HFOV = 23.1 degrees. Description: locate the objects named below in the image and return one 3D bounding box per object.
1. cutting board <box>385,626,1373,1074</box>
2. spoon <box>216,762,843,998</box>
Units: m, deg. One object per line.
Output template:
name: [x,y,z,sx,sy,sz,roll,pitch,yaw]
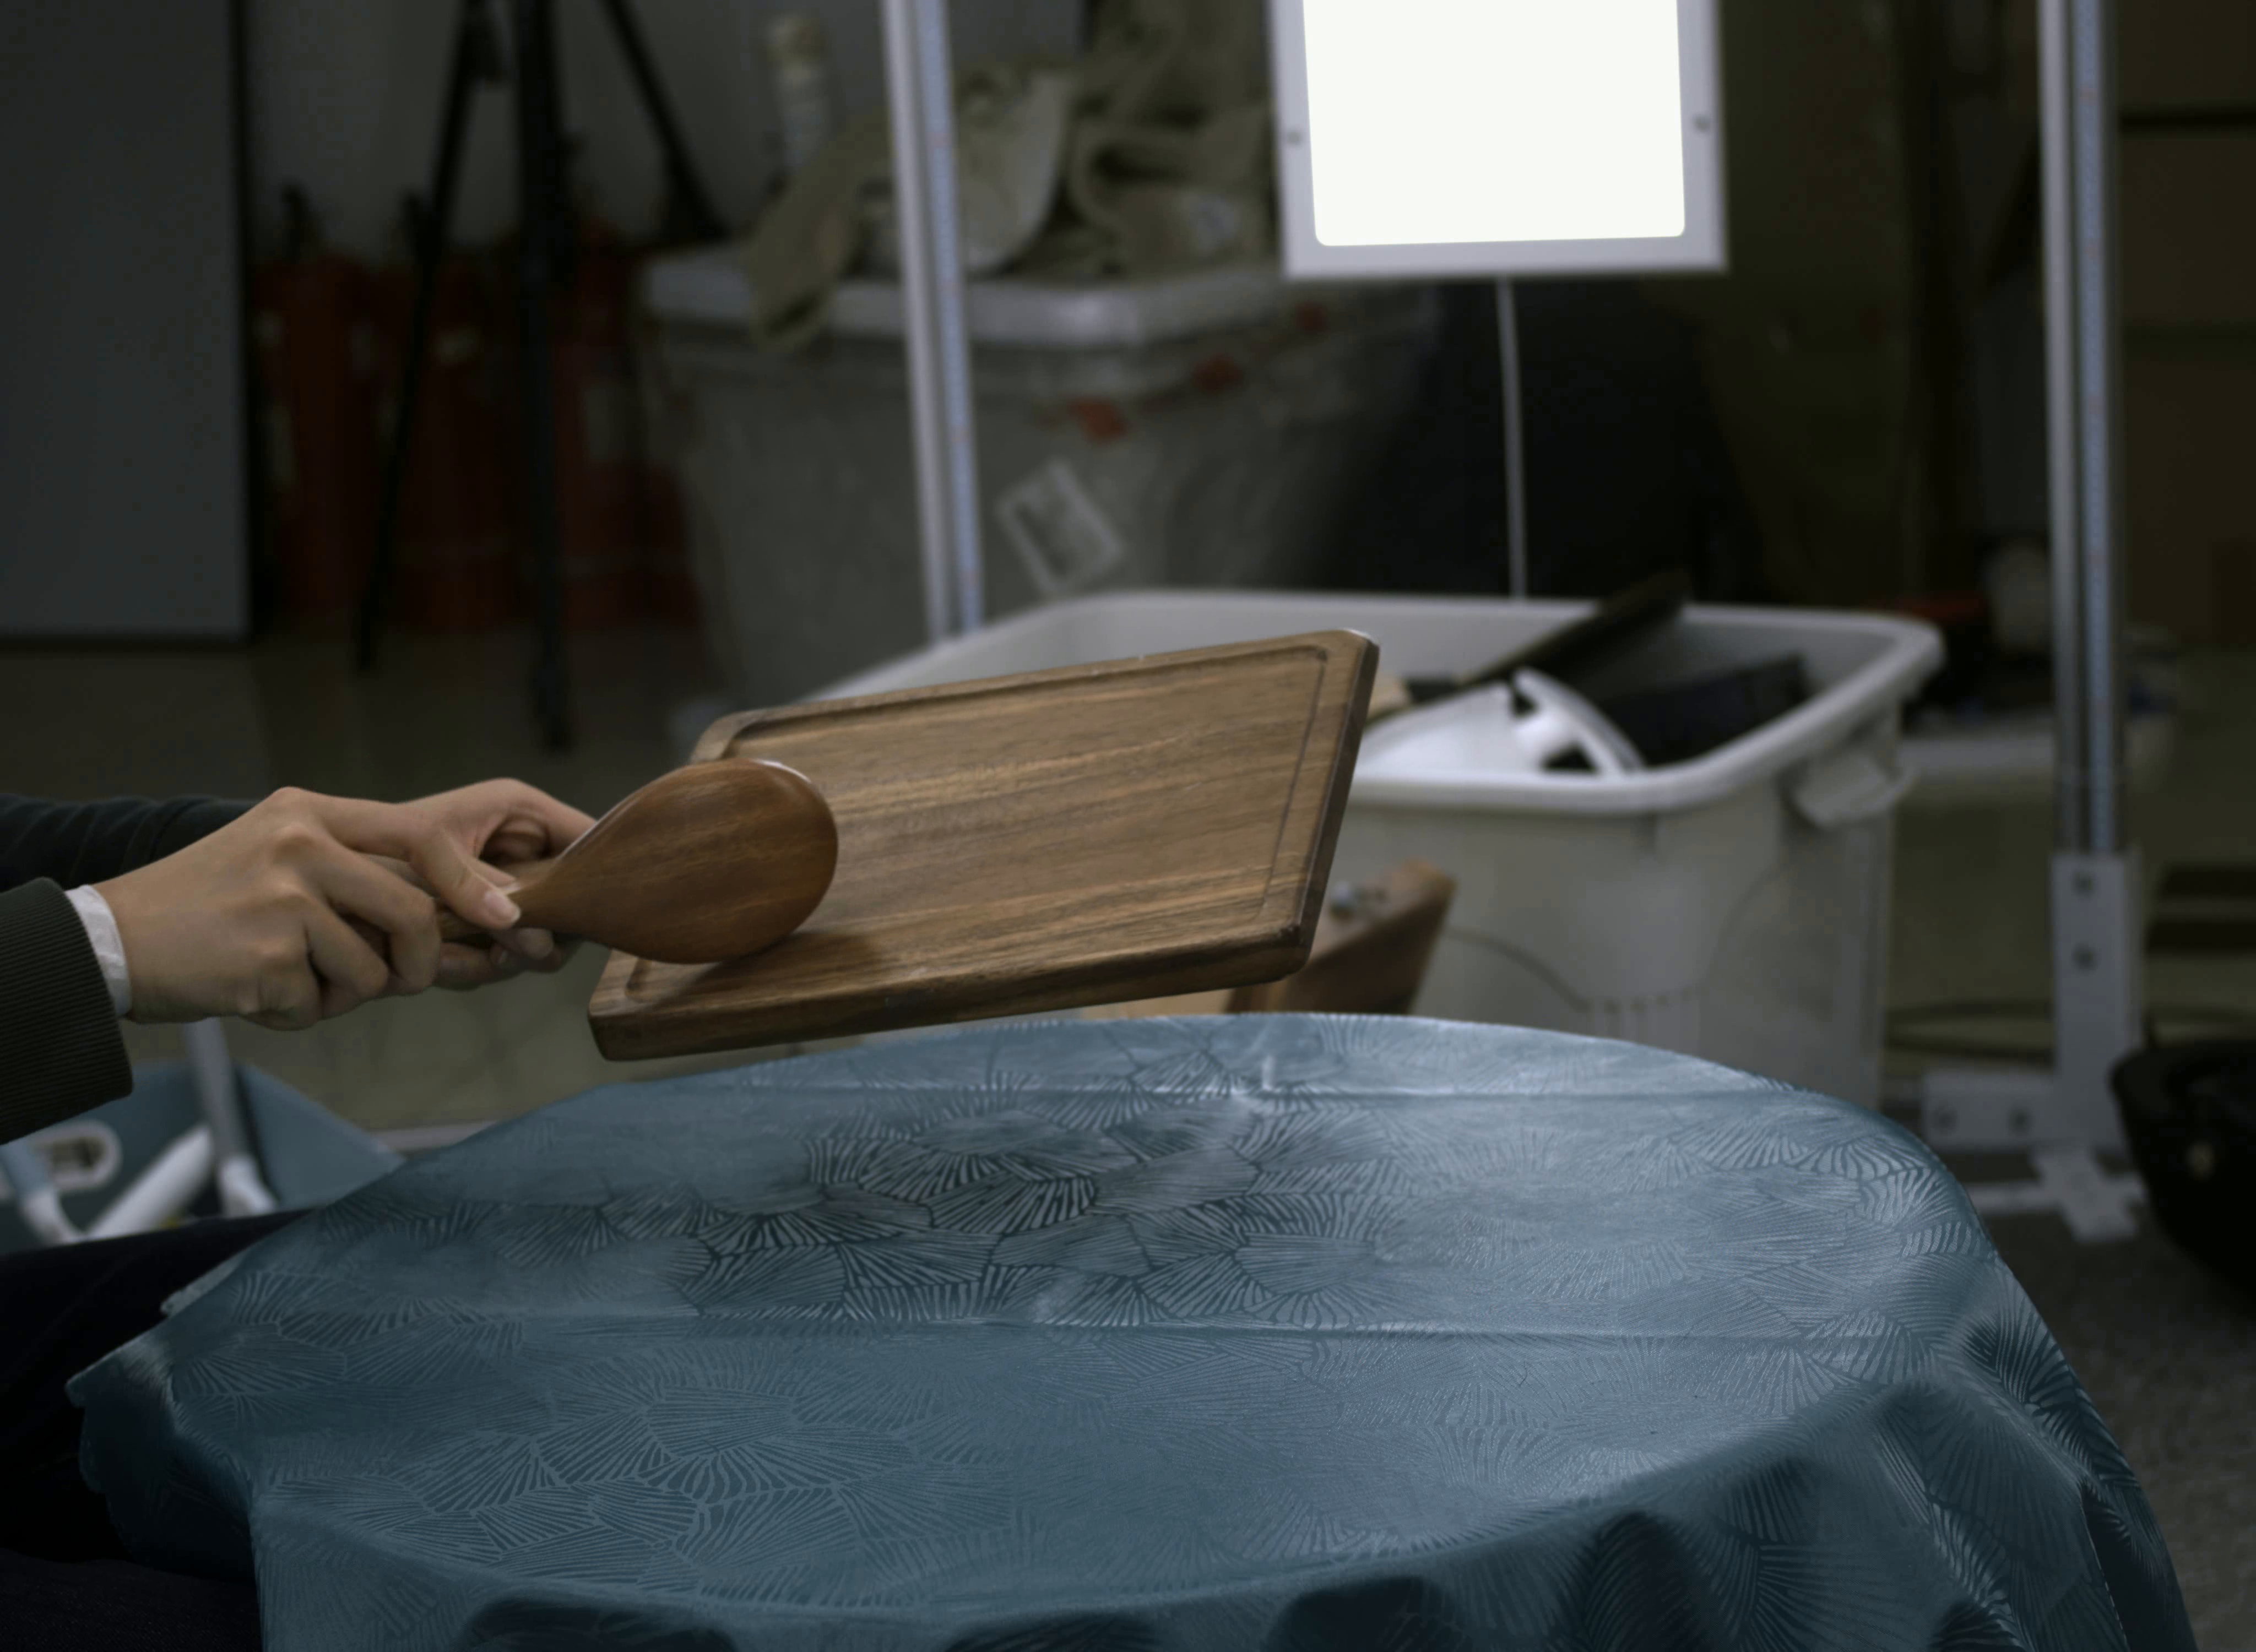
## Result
cutting board: [-0.094,0.013,1.911,0.356,0.023,0.199,-8,33,18]
spoon: [-0.196,0.026,1.830,0.213,0.076,0.017,-11,32,-14]
